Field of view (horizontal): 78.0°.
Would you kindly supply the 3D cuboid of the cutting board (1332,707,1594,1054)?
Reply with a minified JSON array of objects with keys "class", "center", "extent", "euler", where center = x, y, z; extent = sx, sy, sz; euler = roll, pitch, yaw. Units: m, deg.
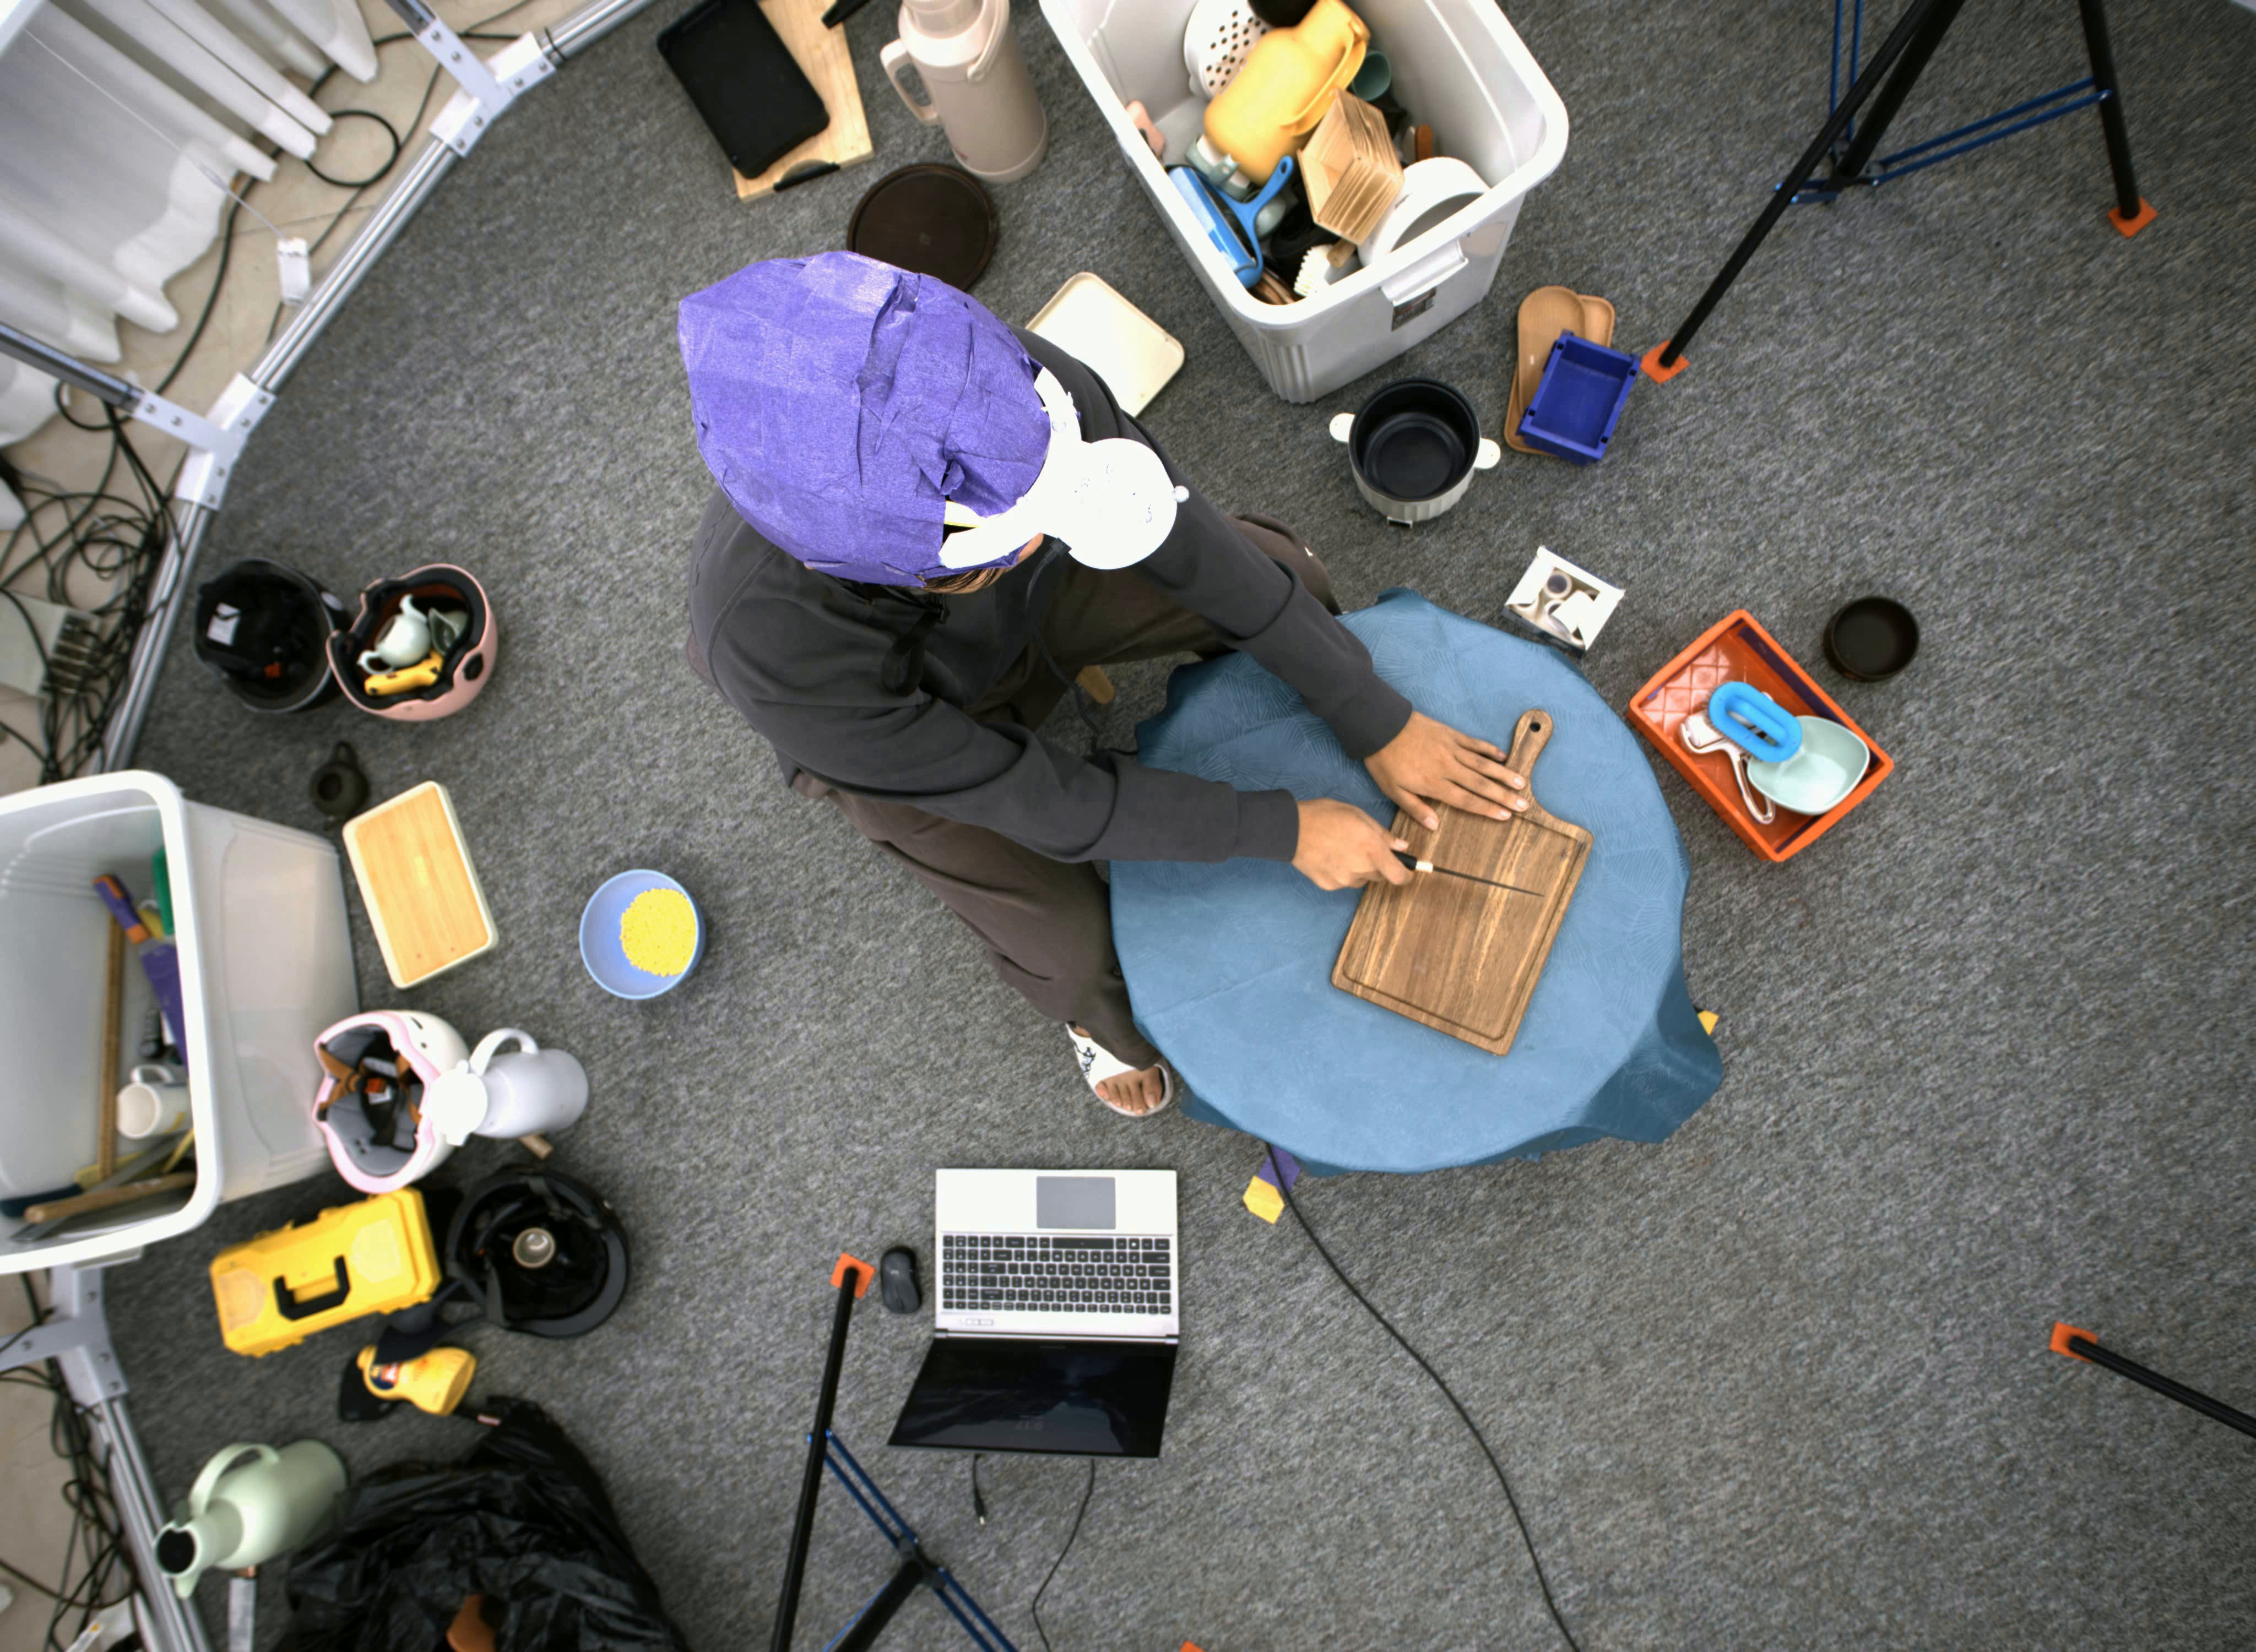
[{"class":"cutting board","center":[0.366,0.039,1.434],"extent":[0.201,0.023,0.352],"euler":[22,91,12]}]

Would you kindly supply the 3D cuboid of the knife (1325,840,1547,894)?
[{"class":"knife","center":[0.310,0.042,1.395],"extent":[0.226,0.026,0.017],"euler":[12,101,17]}]
